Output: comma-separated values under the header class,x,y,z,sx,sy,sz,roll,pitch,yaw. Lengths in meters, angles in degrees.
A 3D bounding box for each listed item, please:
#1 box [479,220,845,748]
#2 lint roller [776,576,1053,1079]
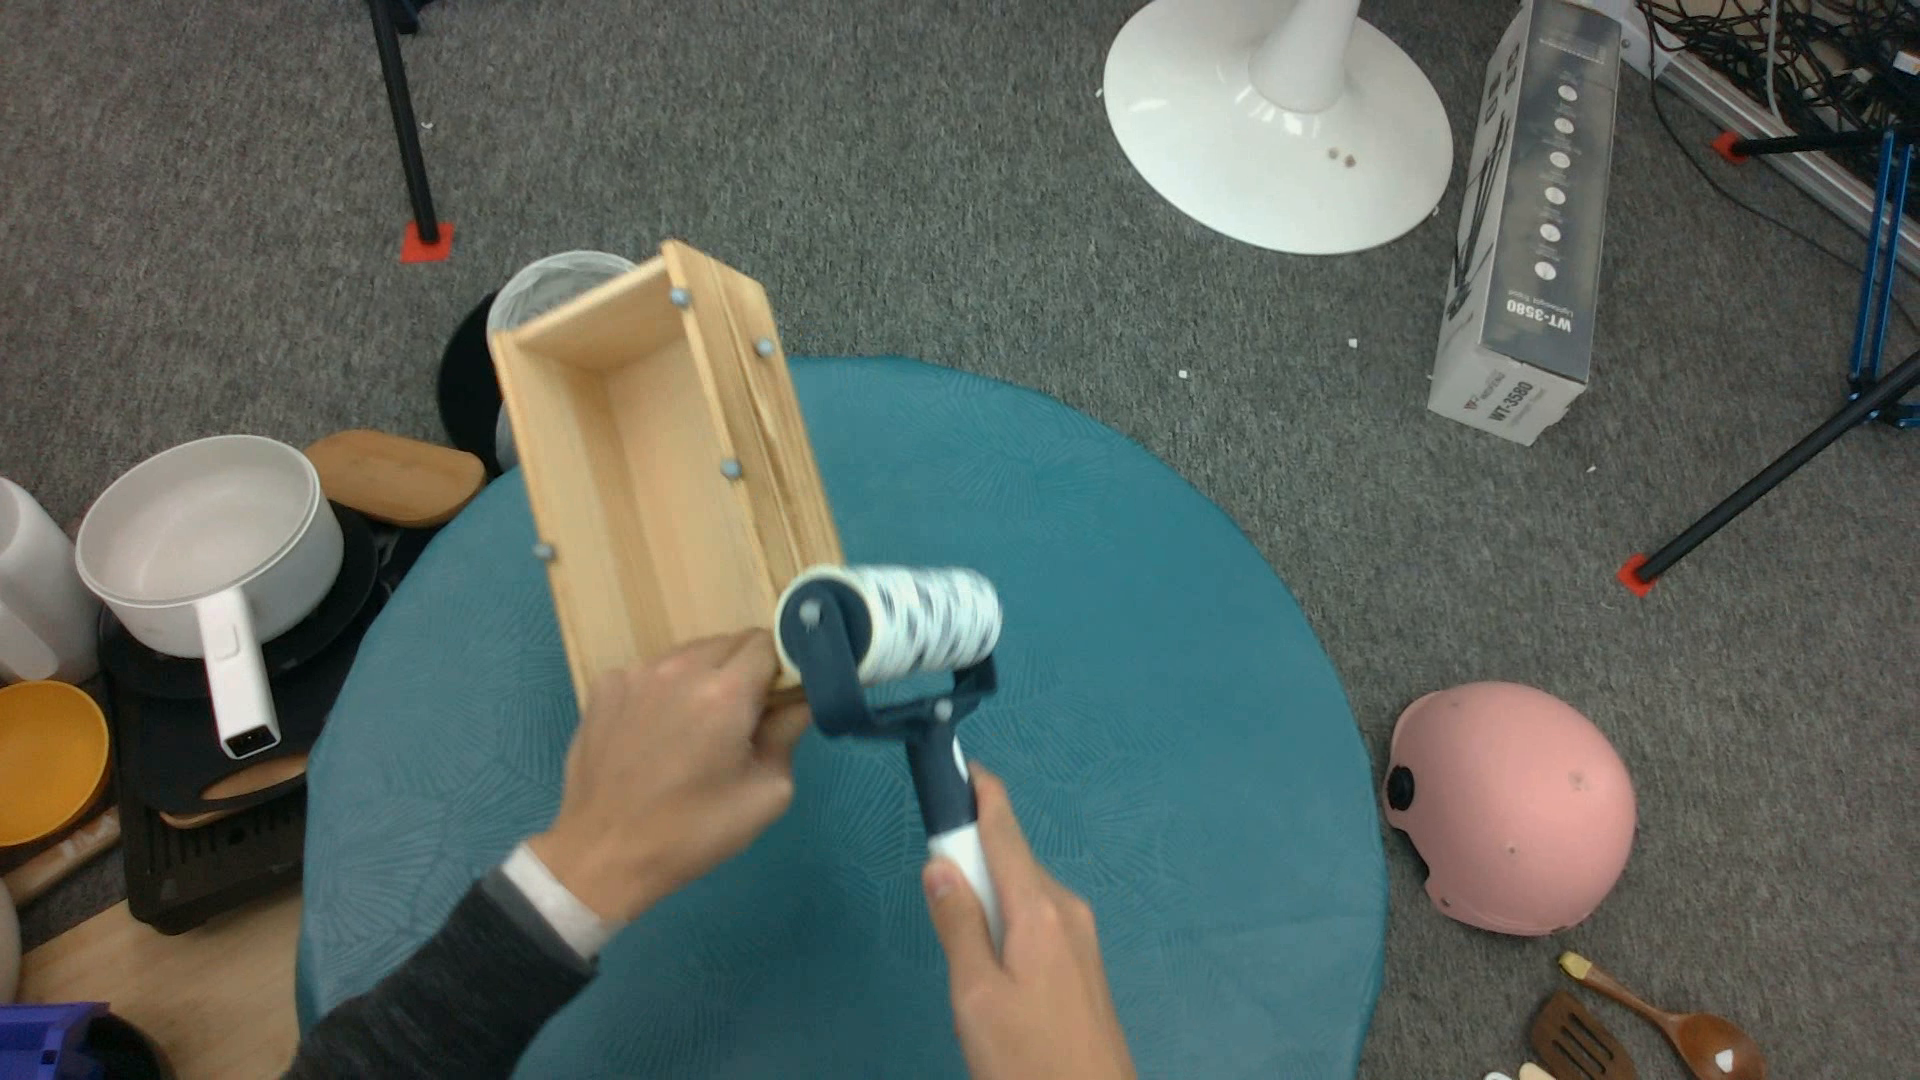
class,x,y,z,sx,sy,sz,roll,pitch,yaw
box,-0.133,-0.023,0.638,0.107,0.080,0.211,-22,78,17
lint roller,0.002,0.134,0.609,0.050,0.176,0.247,-21,82,15
